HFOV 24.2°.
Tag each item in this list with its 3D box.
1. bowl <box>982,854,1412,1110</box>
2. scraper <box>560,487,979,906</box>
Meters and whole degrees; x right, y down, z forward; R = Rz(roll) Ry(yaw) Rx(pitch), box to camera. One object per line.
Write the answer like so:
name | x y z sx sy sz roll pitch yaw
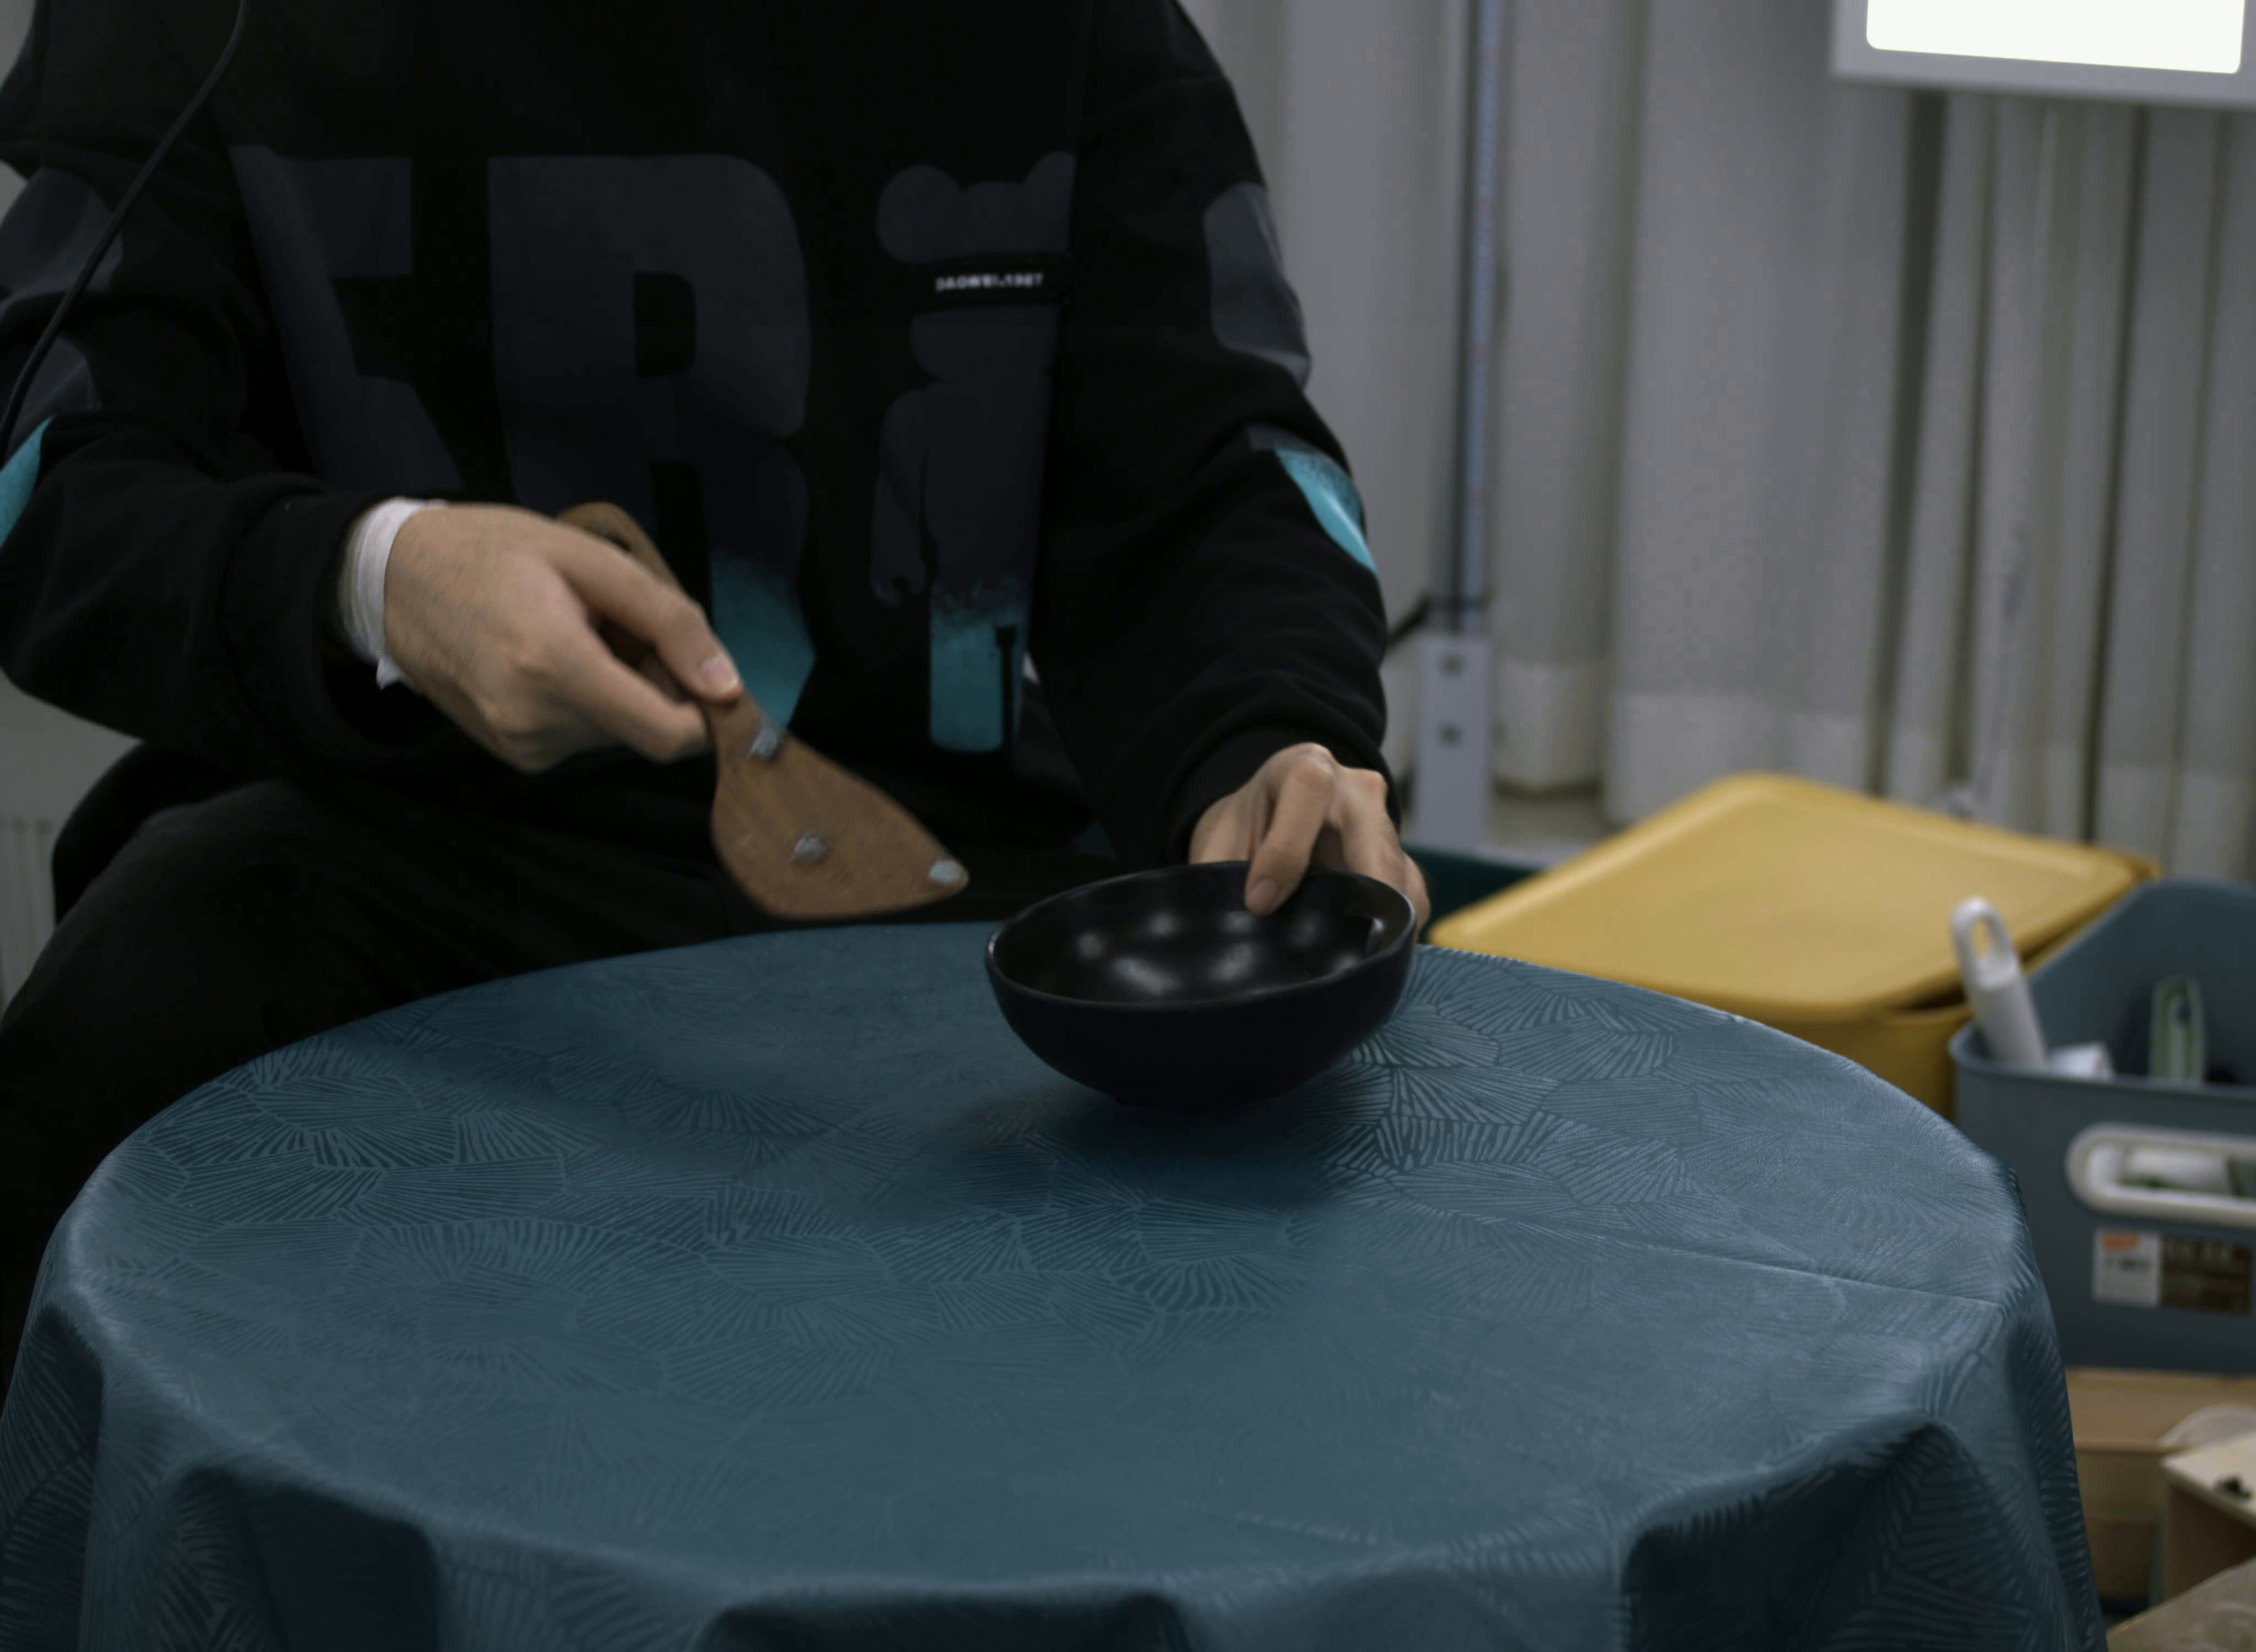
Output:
bowl | 0.025 0.055 1.686 0.139 0.050 0.139 -7 18 3
scraper | -0.125 -0.043 1.674 0.076 0.011 0.208 -8 46 -36
